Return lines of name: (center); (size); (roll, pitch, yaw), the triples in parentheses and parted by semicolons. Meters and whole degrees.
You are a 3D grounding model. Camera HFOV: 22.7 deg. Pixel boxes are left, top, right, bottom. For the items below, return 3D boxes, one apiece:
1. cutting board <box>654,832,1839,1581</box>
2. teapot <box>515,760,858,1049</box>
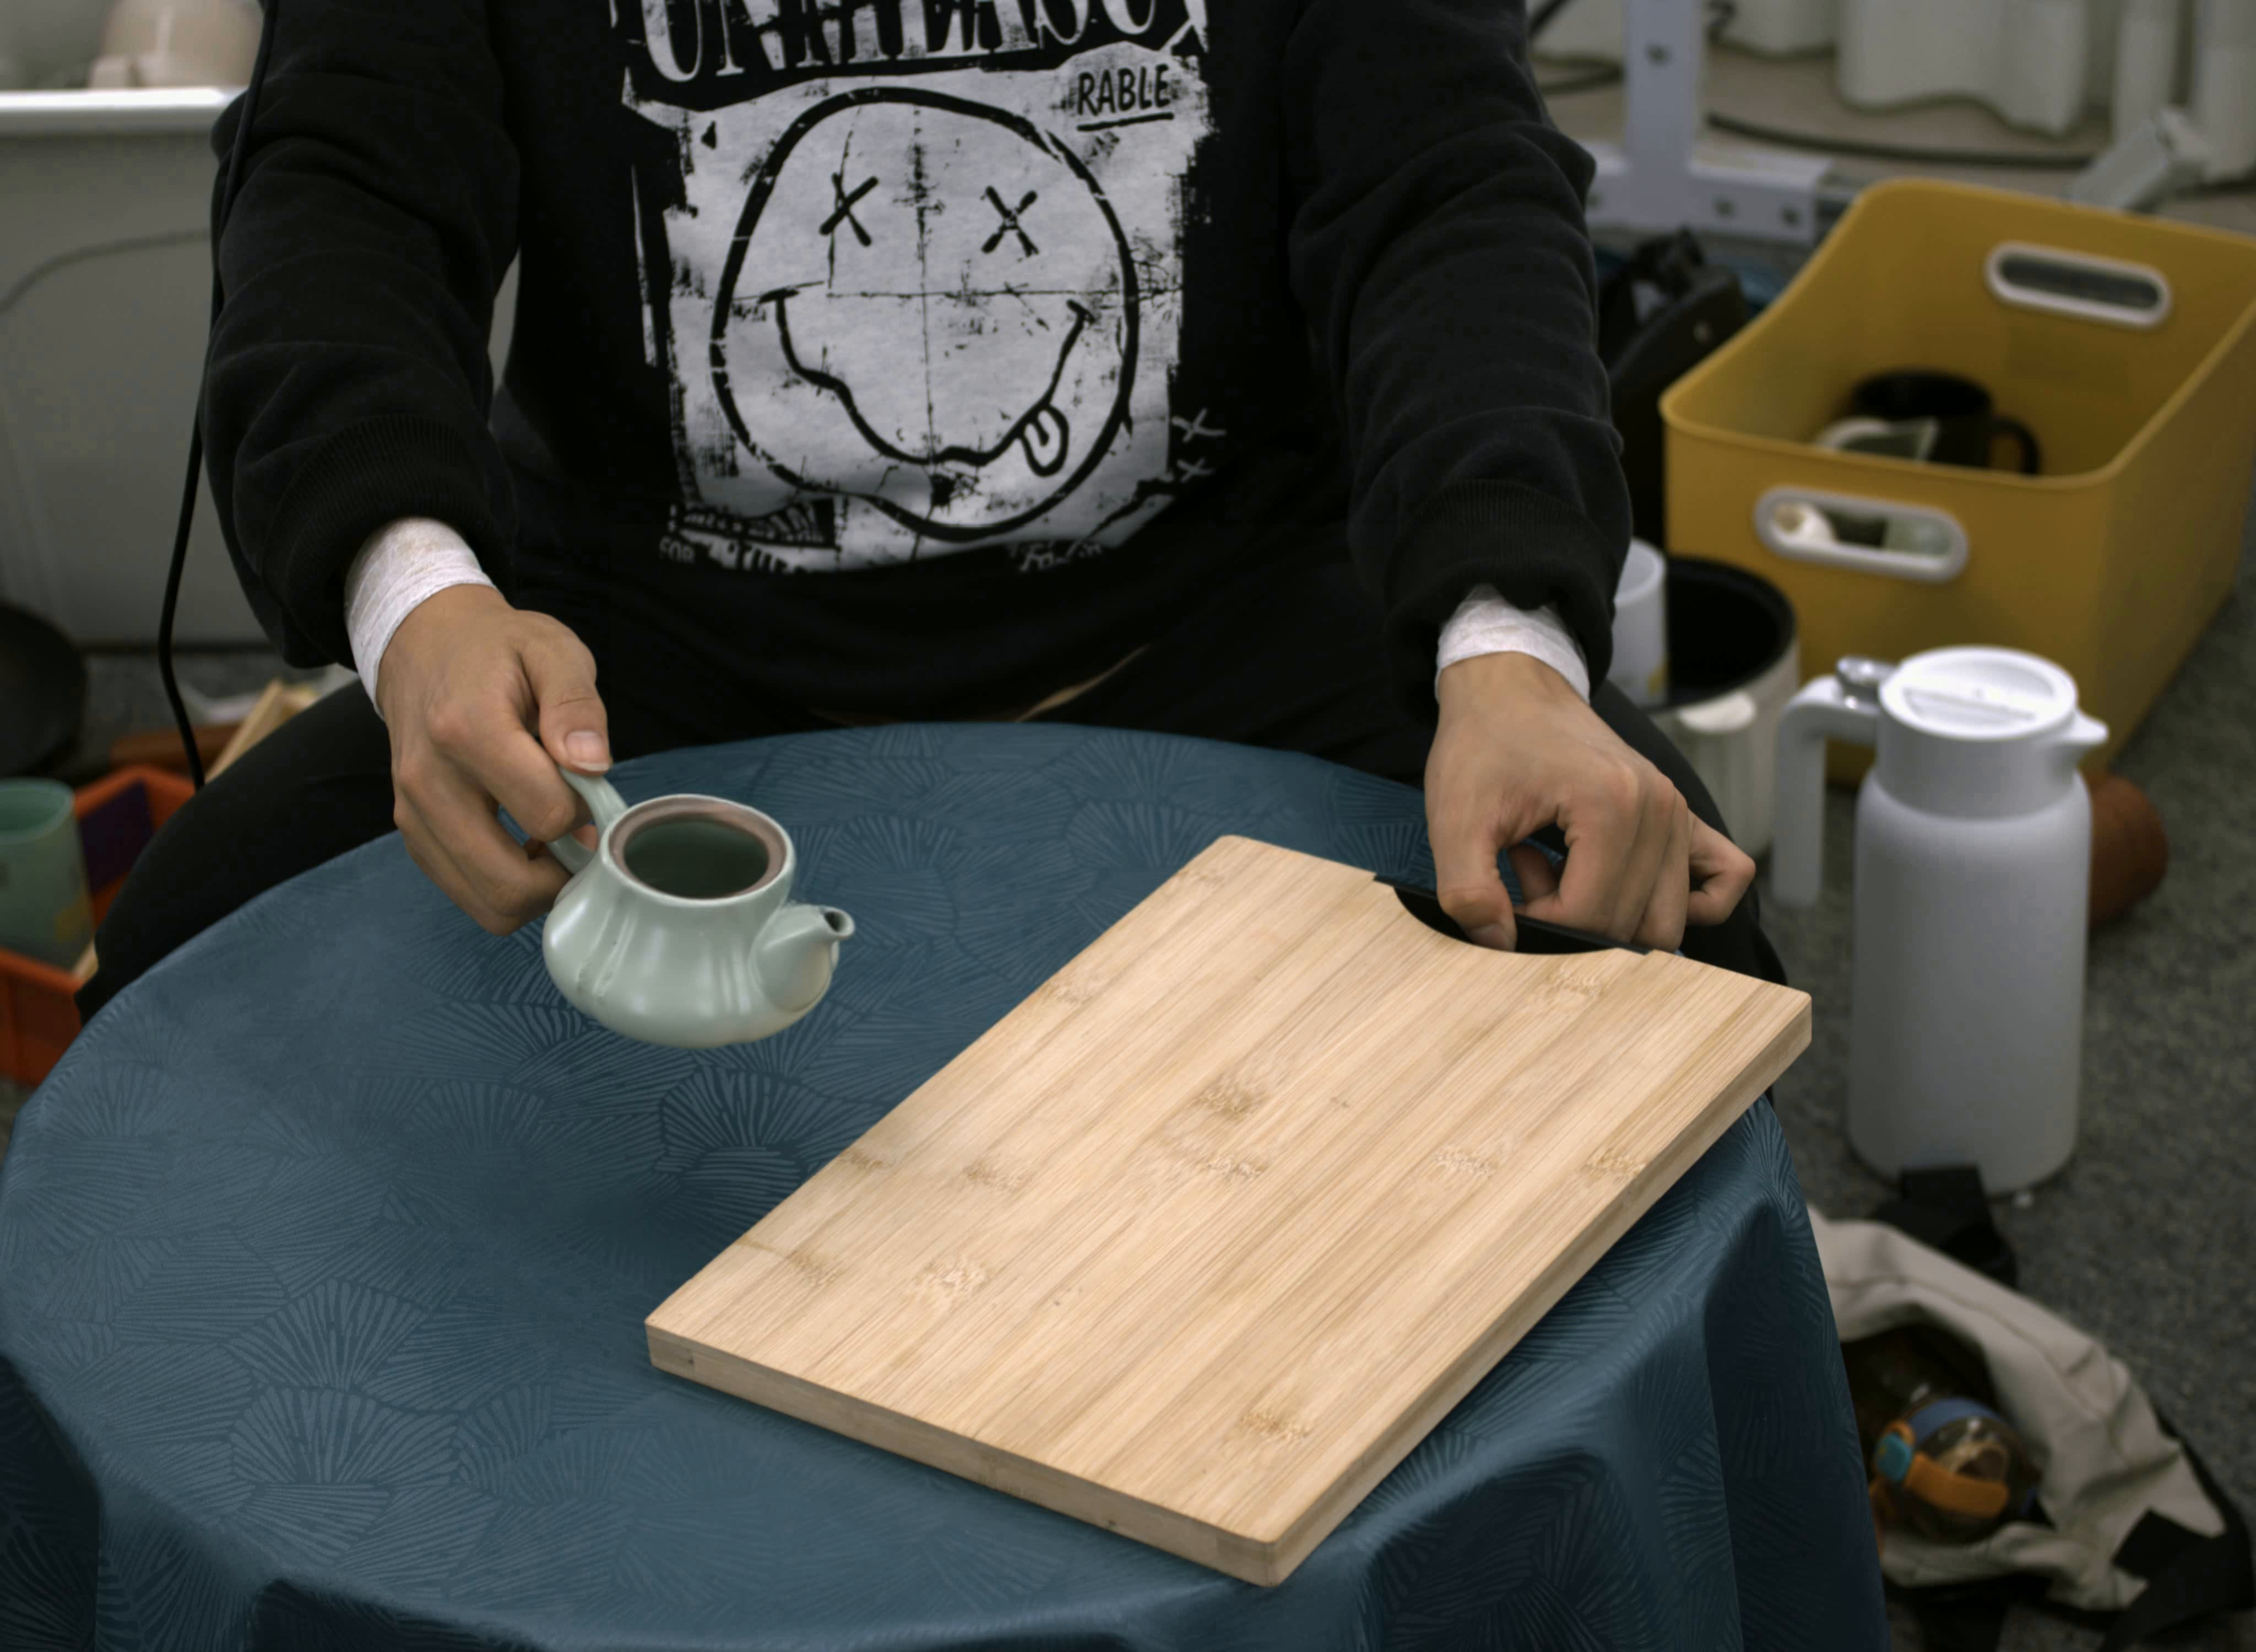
cutting board: (0.043, 0.113, 1.837); (0.249, 0.023, 0.354); (14, 35, 30)
teapot: (-0.145, 0.026, 1.823); (0.137, 0.060, 0.097); (27, 40, 26)
